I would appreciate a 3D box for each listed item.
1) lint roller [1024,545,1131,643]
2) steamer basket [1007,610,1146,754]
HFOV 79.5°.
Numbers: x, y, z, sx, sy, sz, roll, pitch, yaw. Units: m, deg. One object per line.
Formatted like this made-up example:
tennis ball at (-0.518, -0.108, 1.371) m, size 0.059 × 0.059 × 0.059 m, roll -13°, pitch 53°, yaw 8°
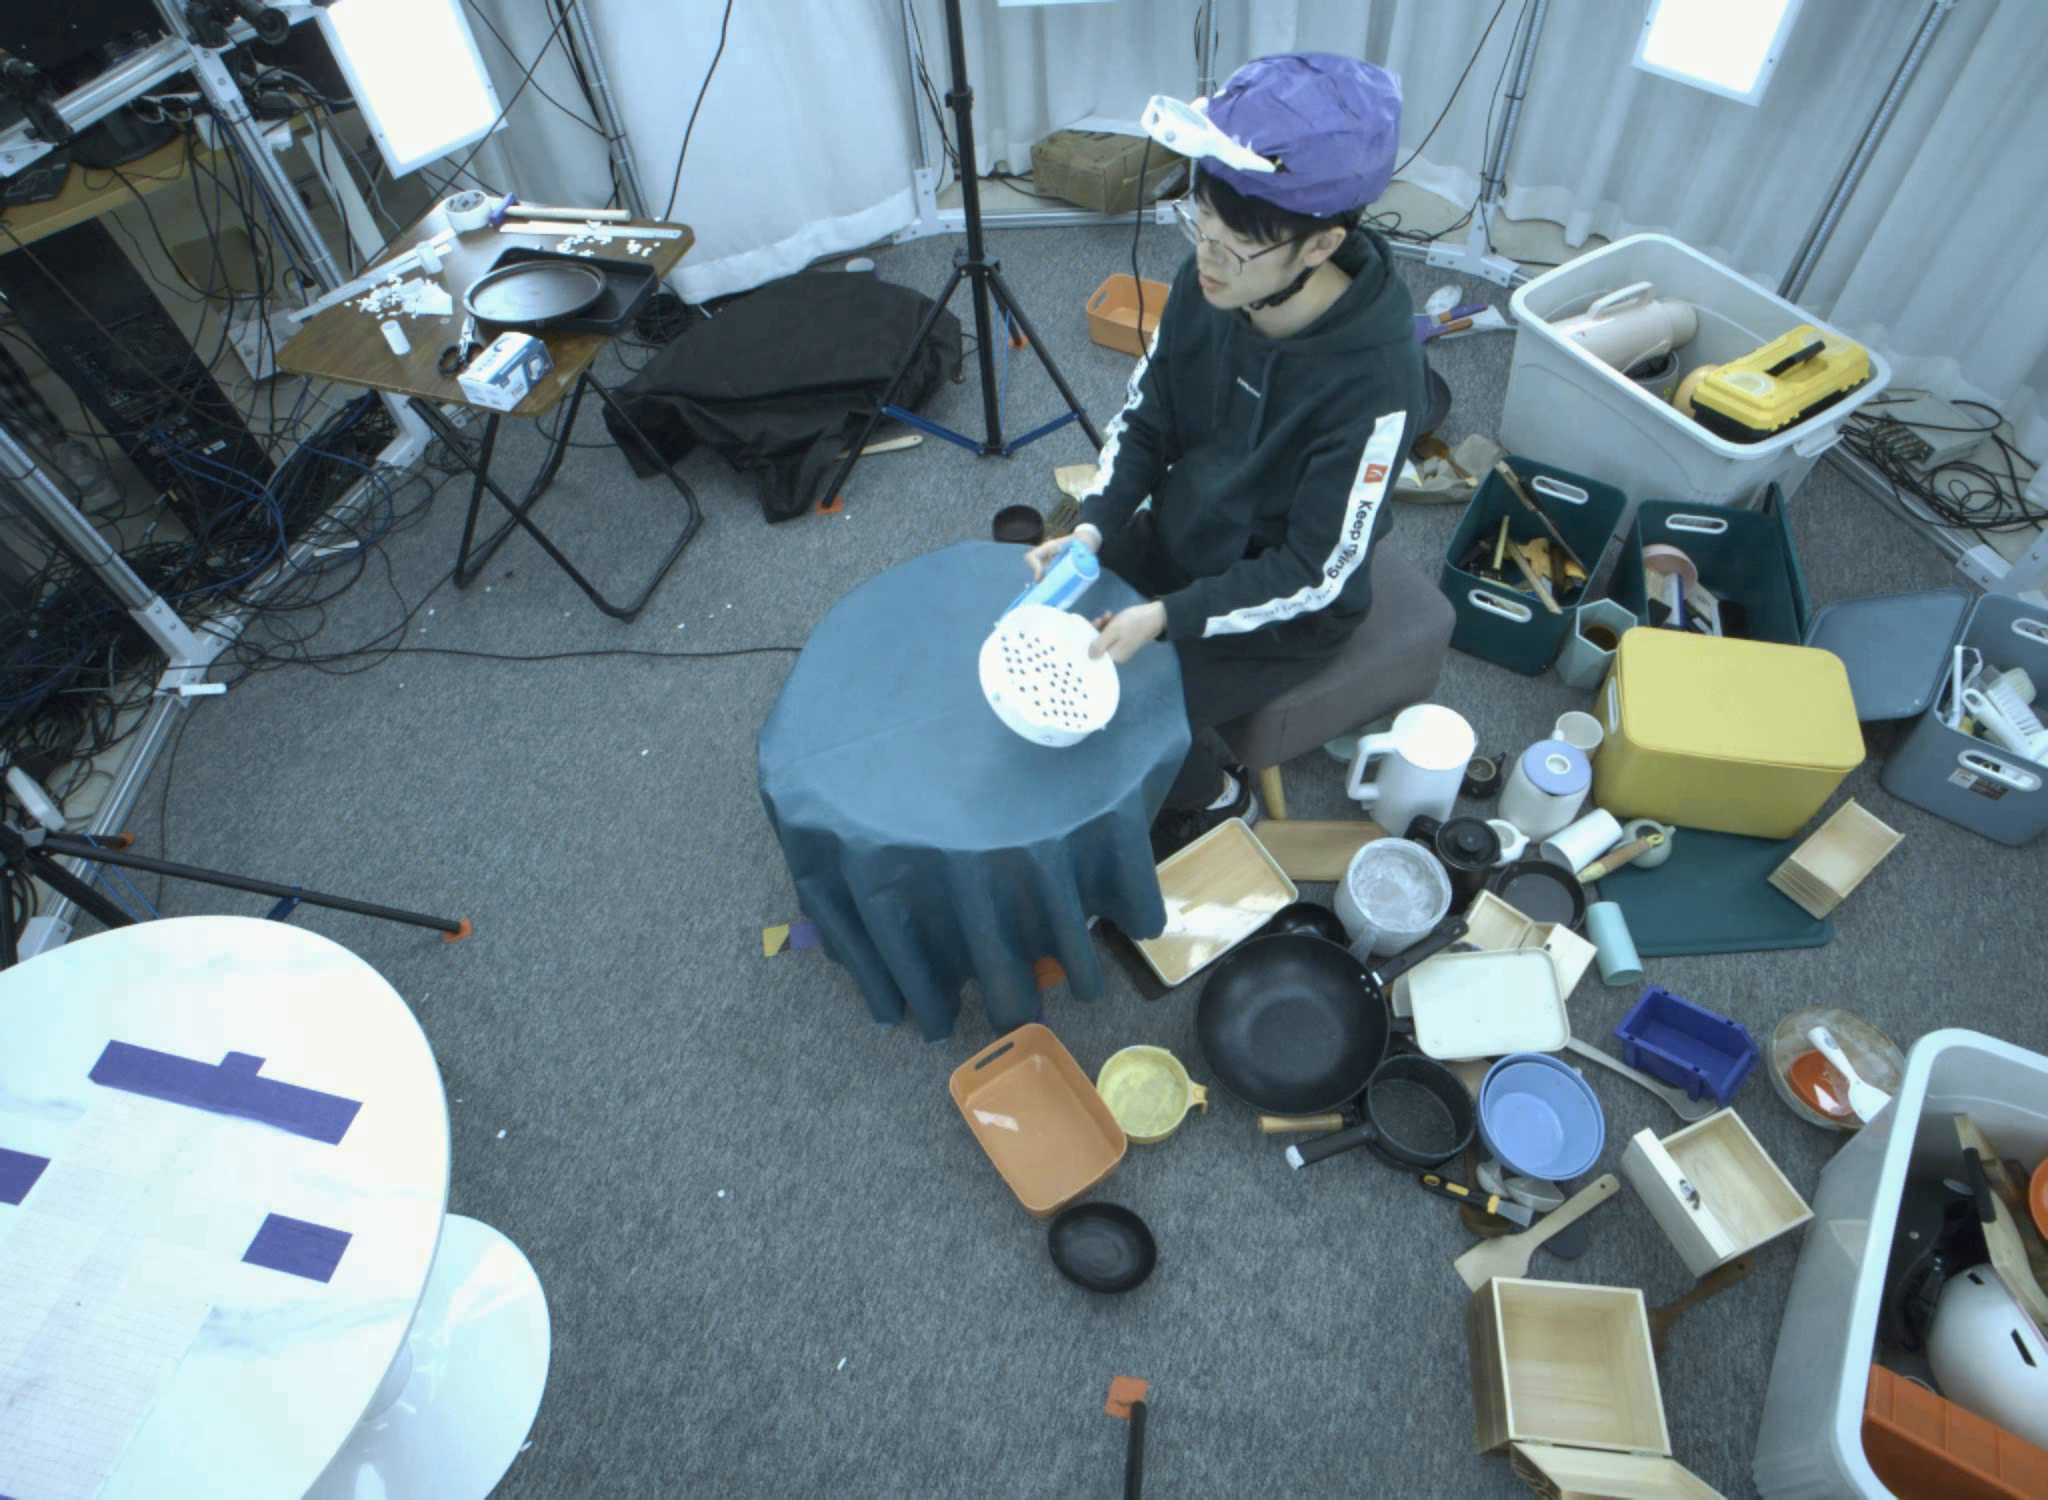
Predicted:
lint roller at (0.096, -0.231, 1.789) m, size 0.068 × 0.227 × 0.181 m, roll 42°, pitch 39°, yaw -4°
steamer basket at (0.071, -0.090, 1.686) m, size 0.203 × 0.068 × 0.231 m, roll 46°, pitch 45°, yaw -8°
